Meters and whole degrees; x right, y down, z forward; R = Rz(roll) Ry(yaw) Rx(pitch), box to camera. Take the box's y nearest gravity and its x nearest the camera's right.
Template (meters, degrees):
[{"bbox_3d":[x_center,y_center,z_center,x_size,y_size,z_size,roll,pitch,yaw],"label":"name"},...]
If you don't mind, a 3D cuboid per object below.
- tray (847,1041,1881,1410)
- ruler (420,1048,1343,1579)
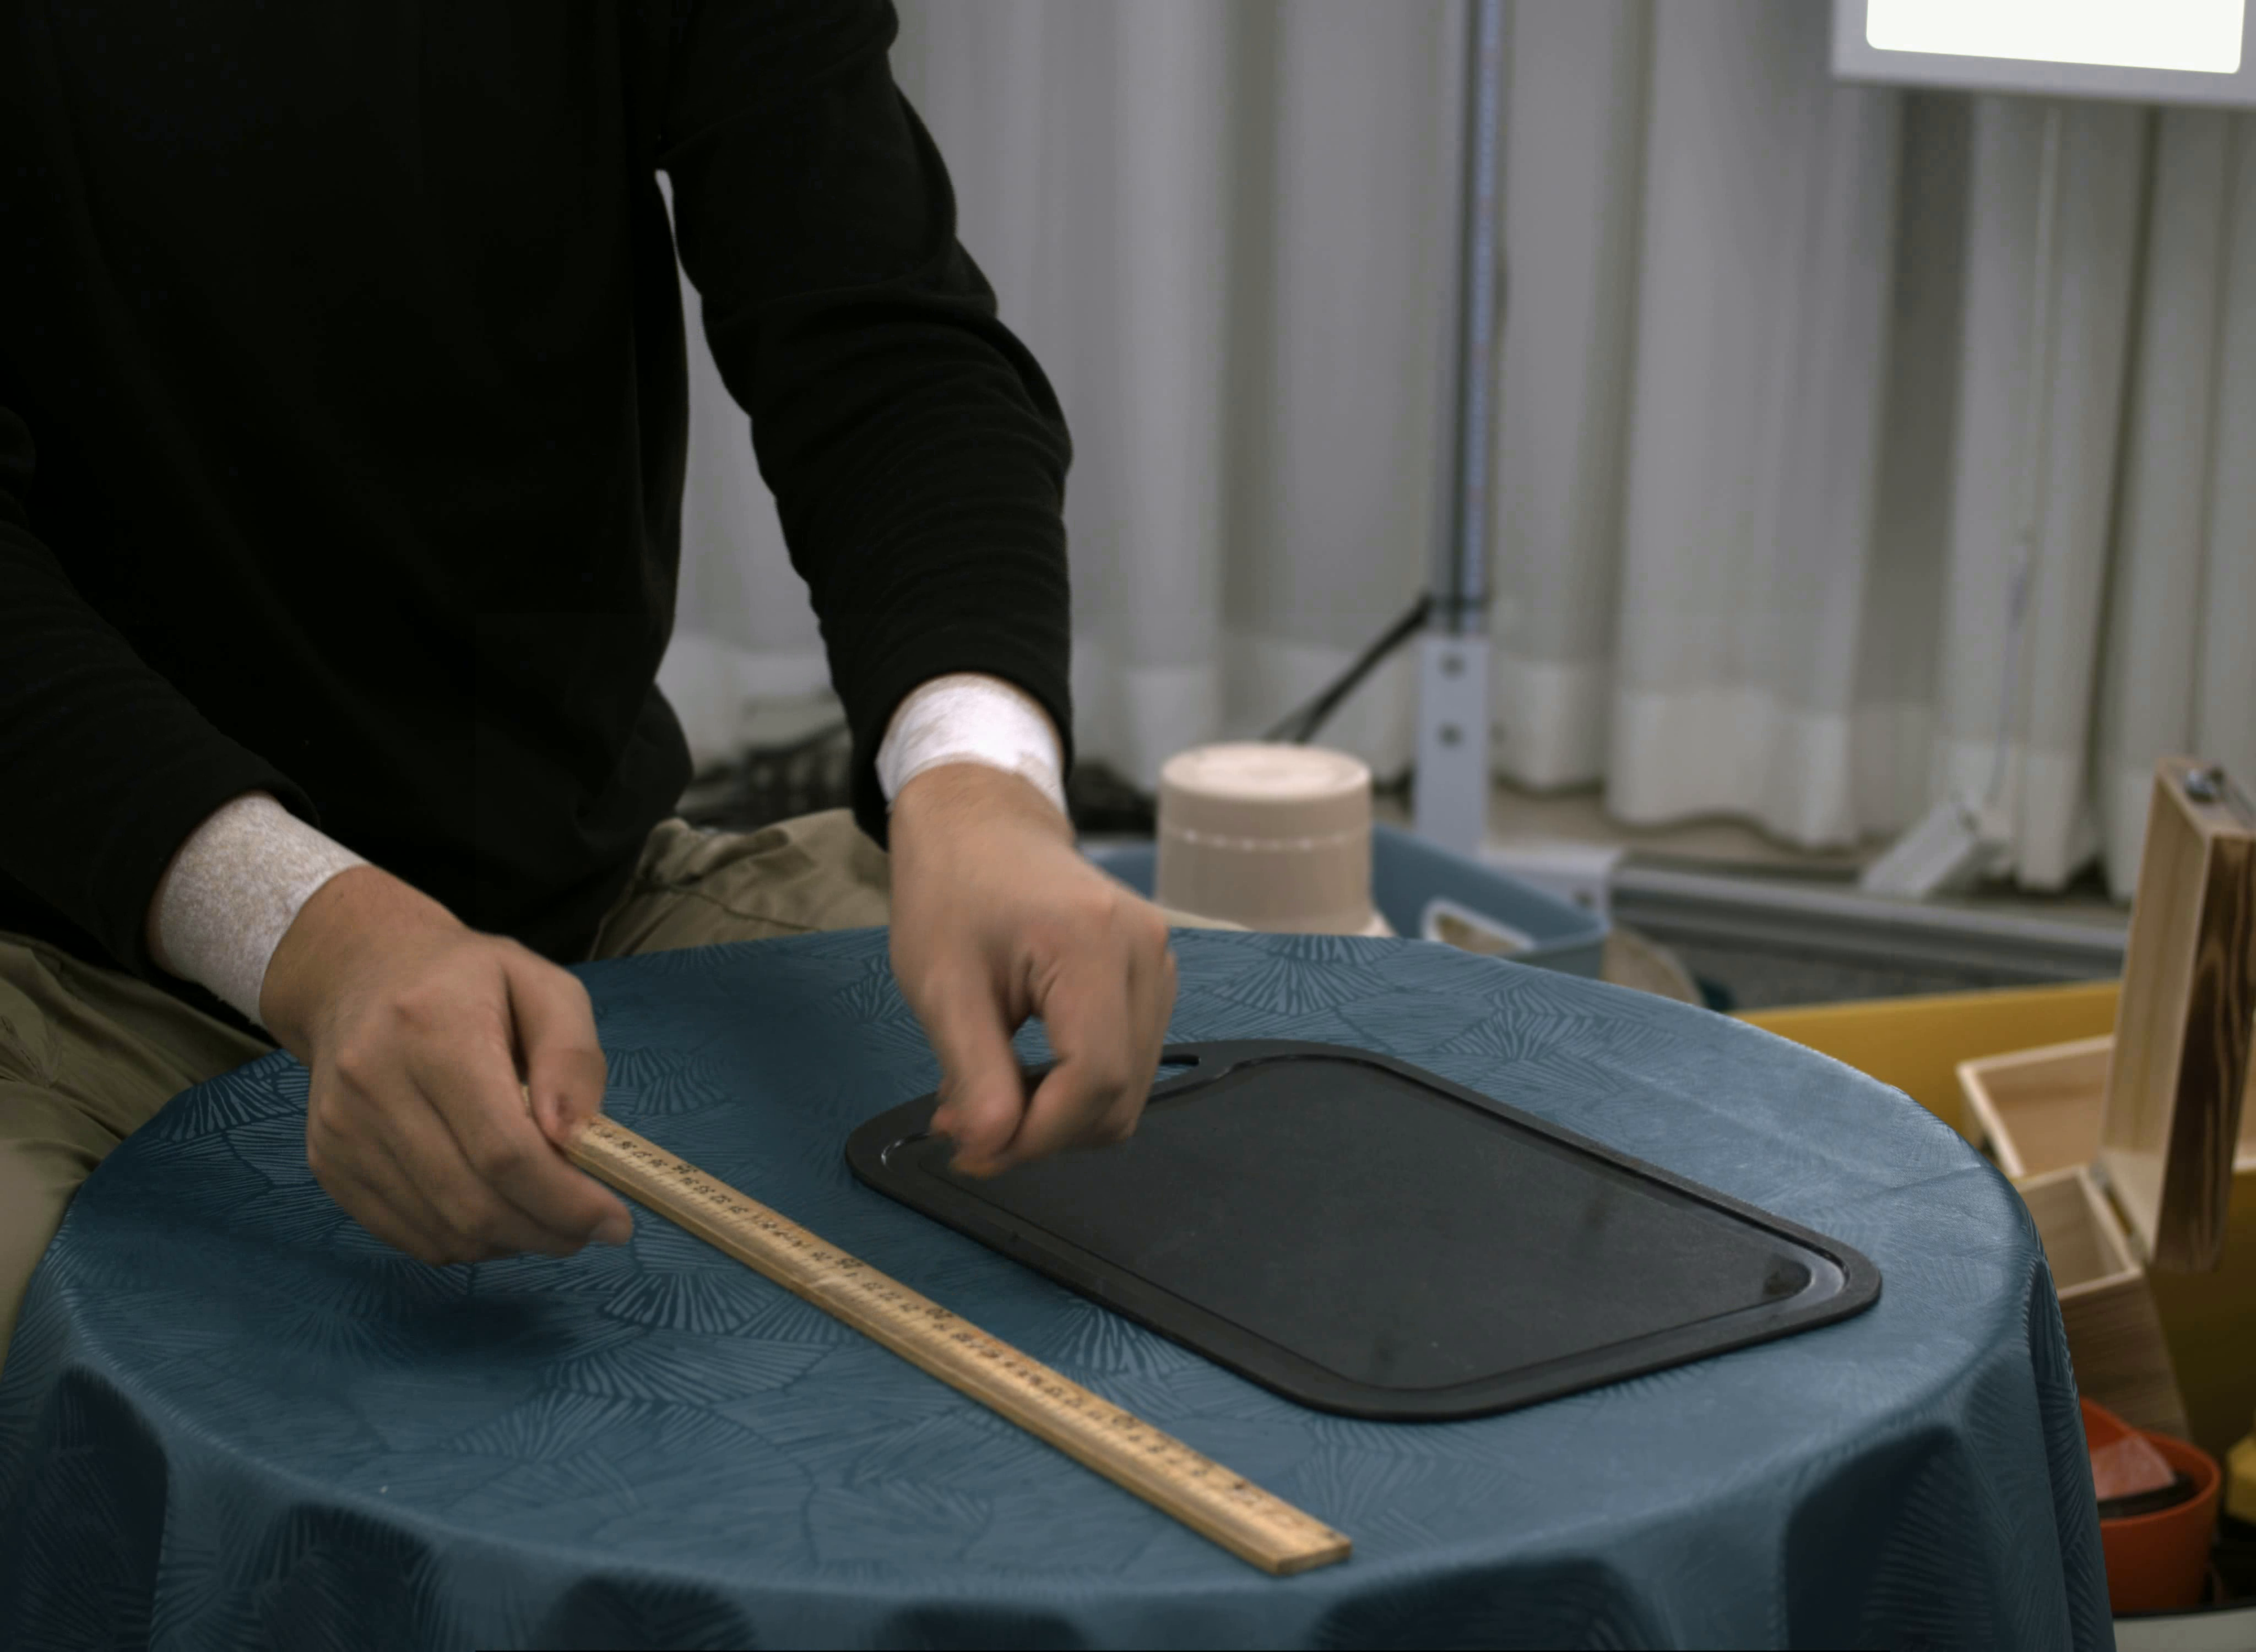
[{"bbox_3d":[0.061,0.114,1.604,0.212,0.010,0.321,-10,18,-34],"label":"tray"},{"bbox_3d":[-0.088,0.132,1.538,0.027,0.006,0.494,-7,17,-32],"label":"ruler"}]
